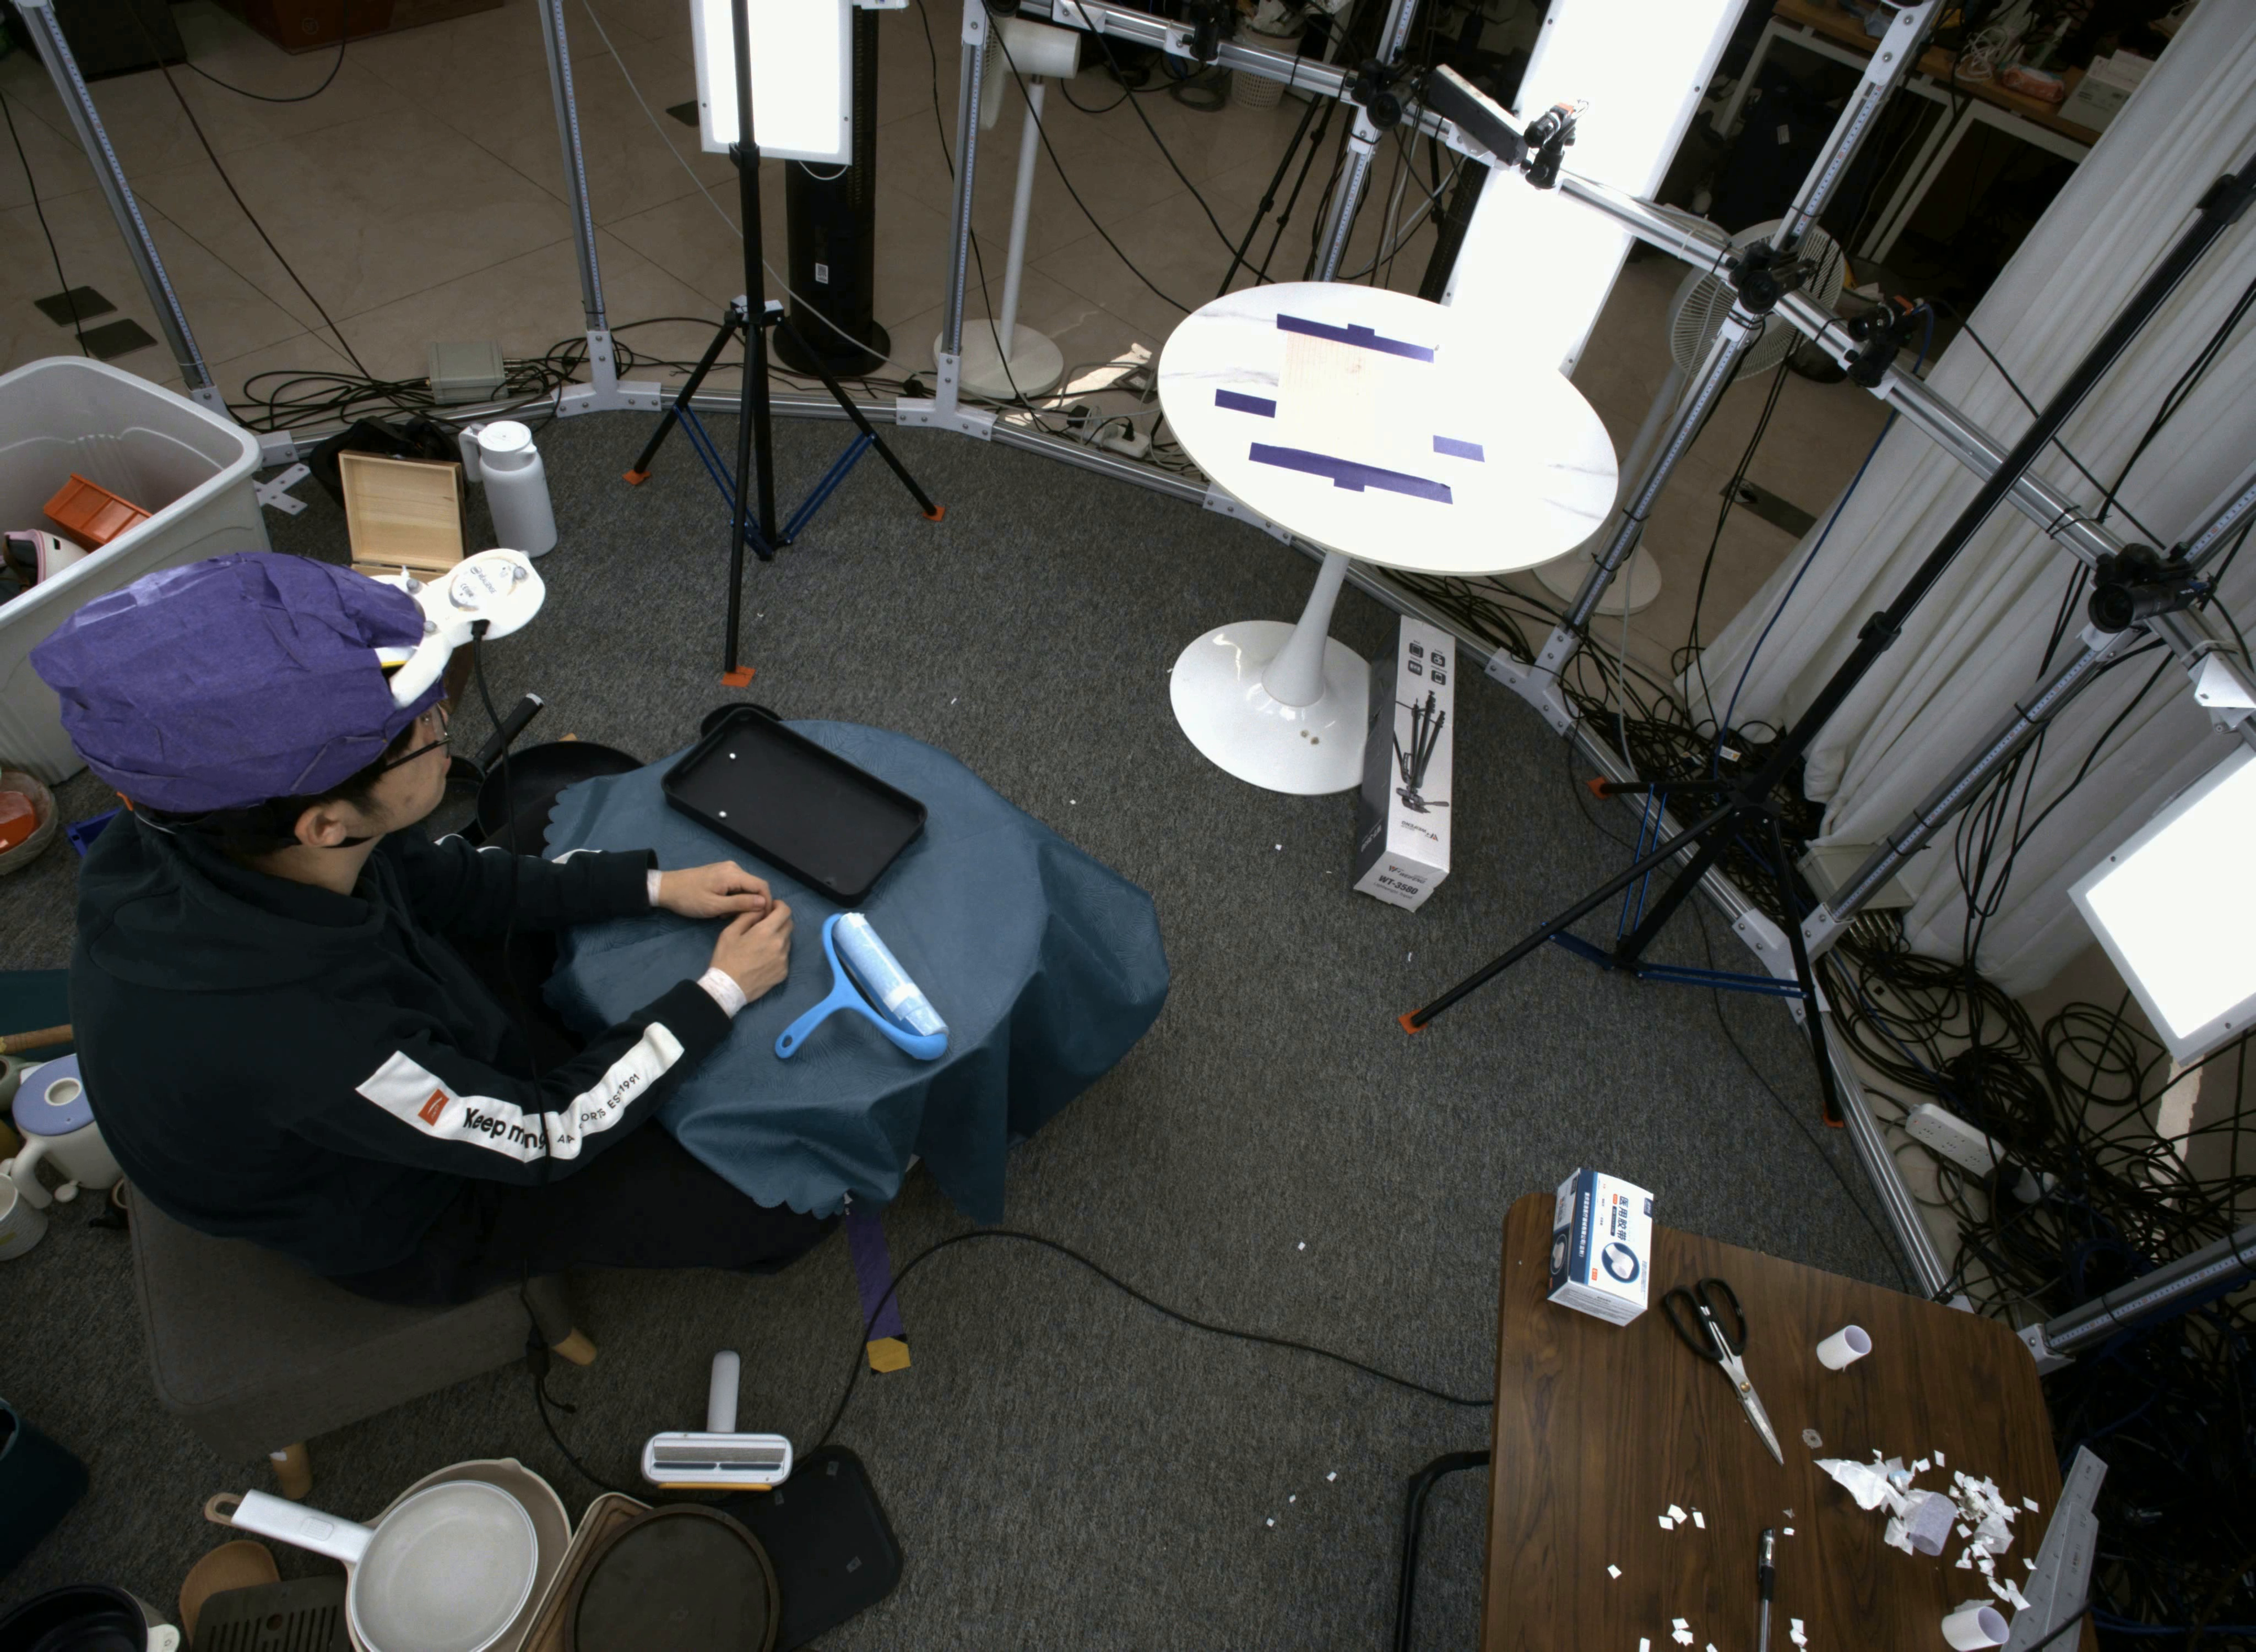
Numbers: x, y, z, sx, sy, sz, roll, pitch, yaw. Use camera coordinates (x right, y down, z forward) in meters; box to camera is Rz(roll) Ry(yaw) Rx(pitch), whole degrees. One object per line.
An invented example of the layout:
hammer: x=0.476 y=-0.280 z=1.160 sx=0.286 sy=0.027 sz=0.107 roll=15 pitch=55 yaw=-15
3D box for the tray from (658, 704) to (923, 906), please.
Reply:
tray: x=-0.447 y=-0.032 z=1.725 sx=0.314 sy=0.038 sz=0.183 roll=29 pitch=53 yaw=5

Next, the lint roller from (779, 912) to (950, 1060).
lint roller: x=-0.337 y=0.215 z=1.557 sx=0.181 sy=0.069 sz=0.224 roll=-32 pitch=69 yaw=-33
